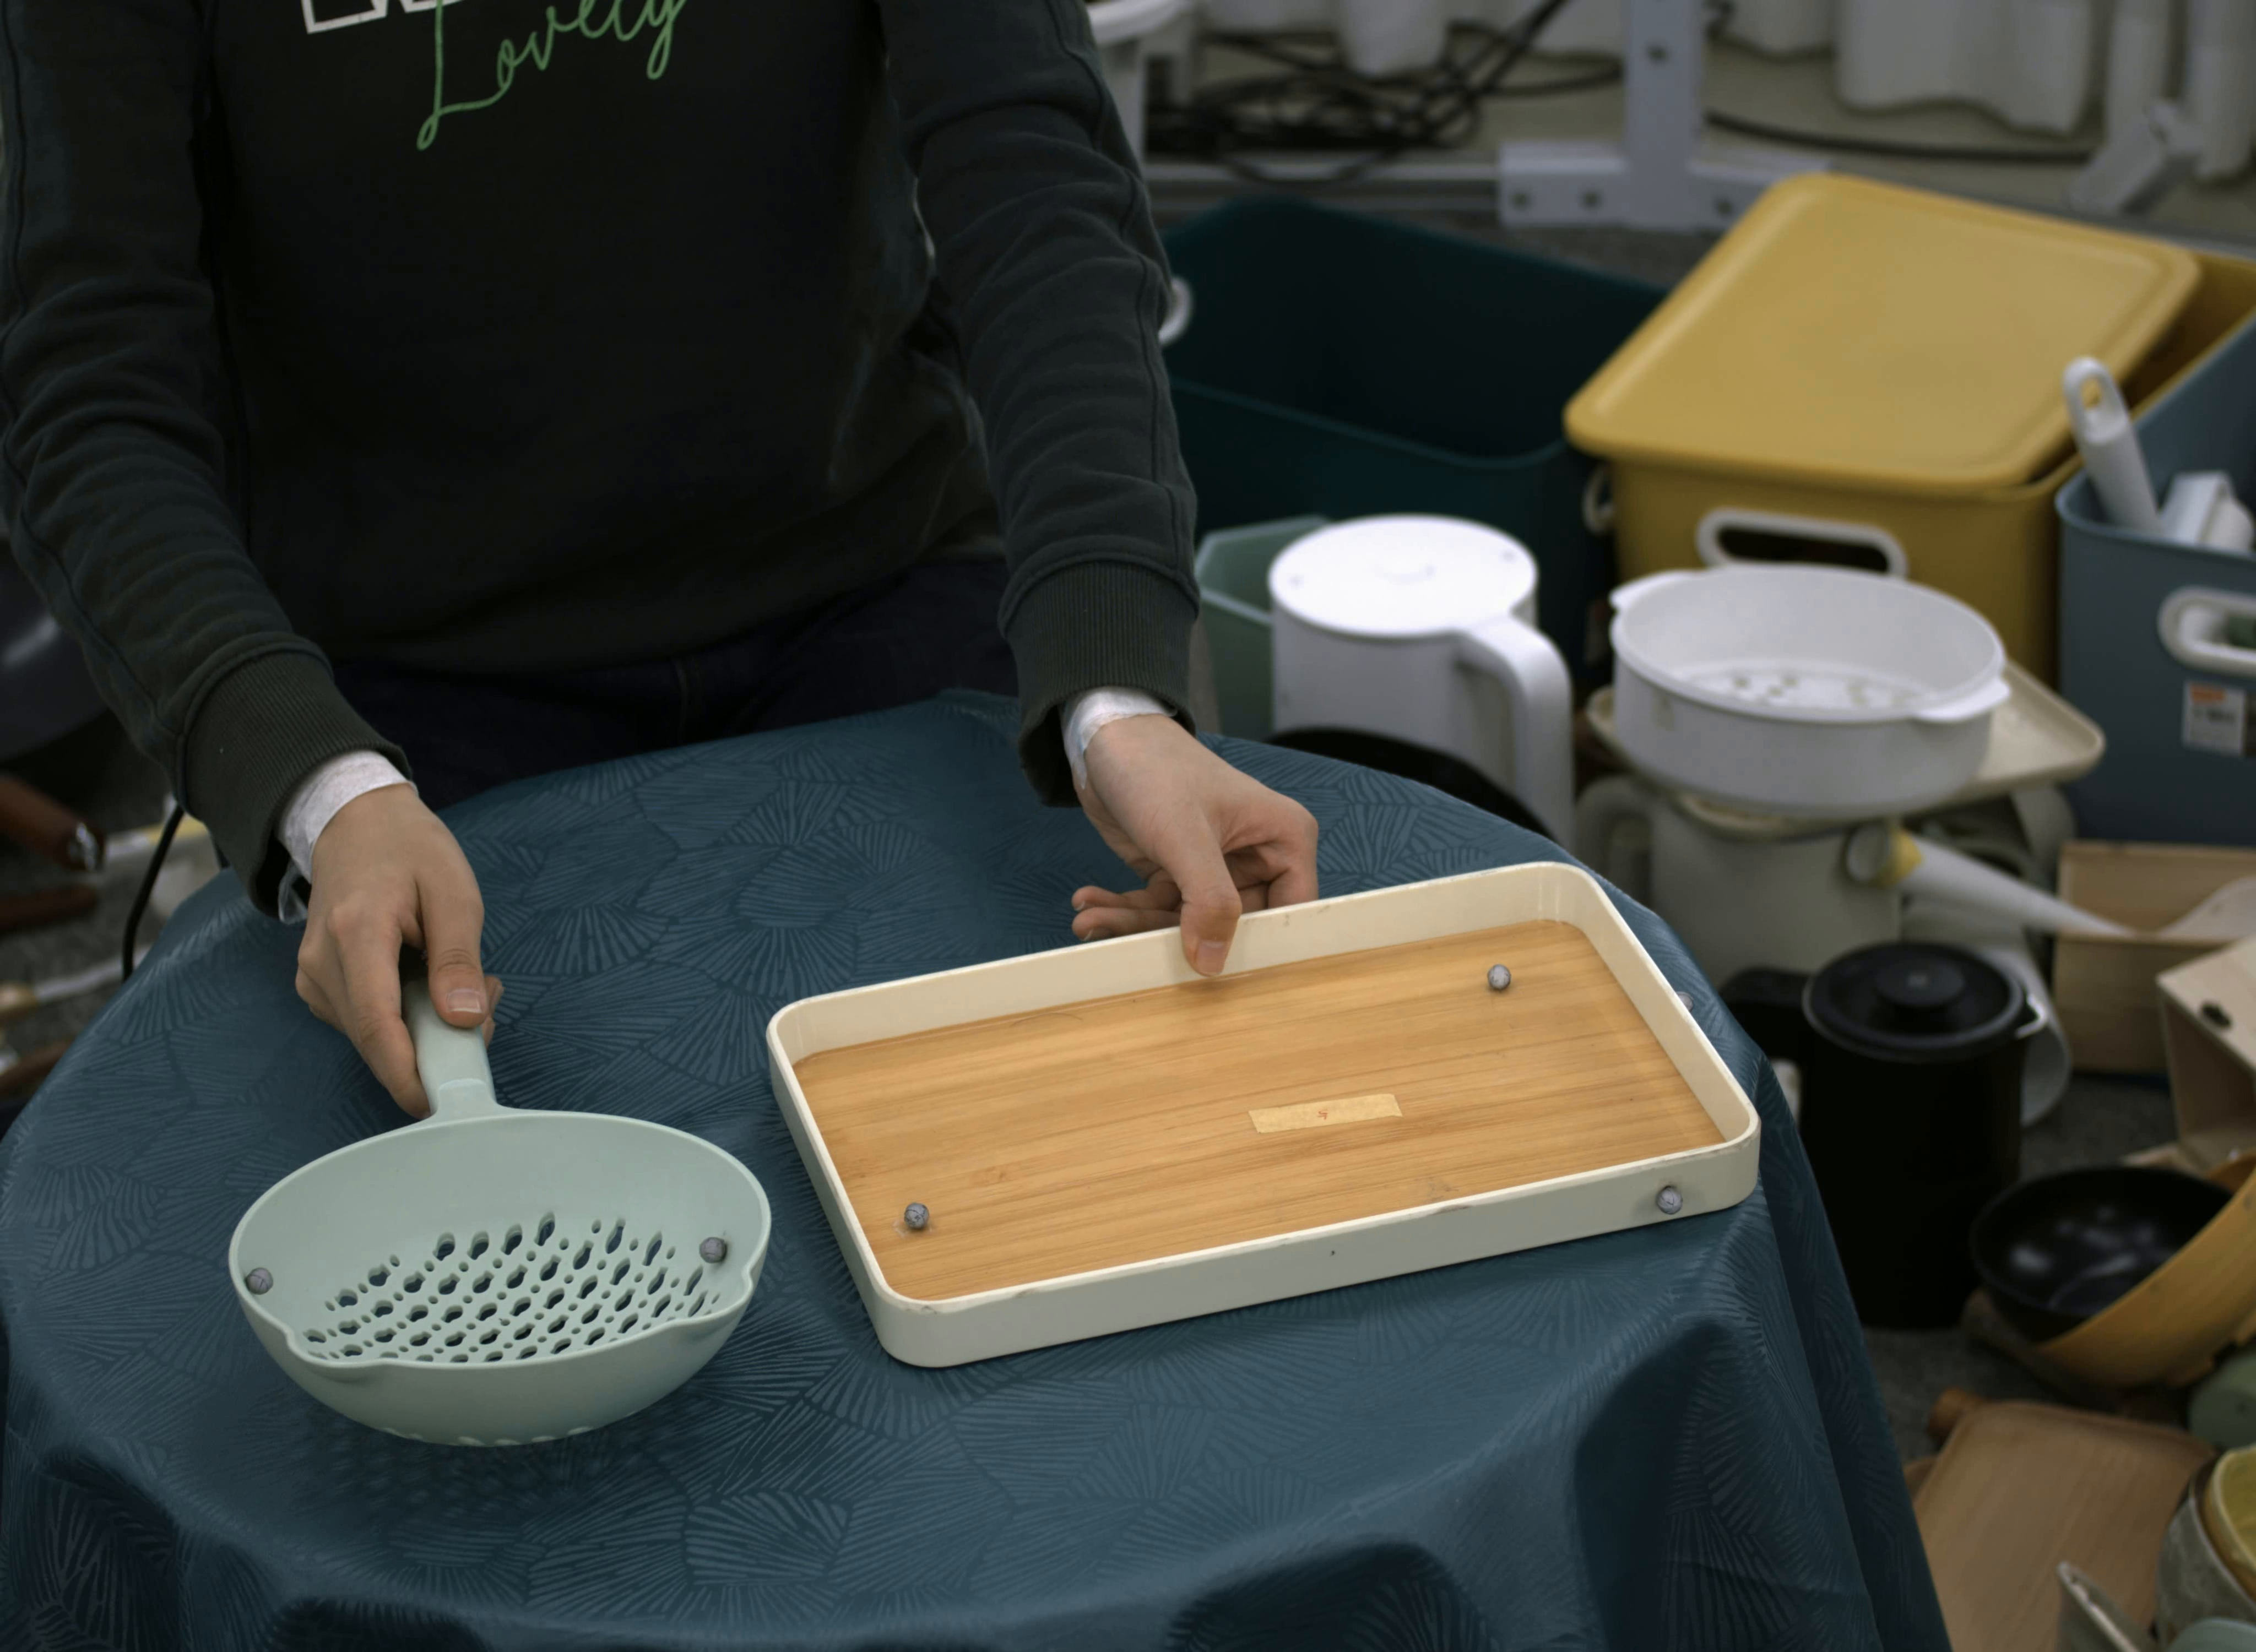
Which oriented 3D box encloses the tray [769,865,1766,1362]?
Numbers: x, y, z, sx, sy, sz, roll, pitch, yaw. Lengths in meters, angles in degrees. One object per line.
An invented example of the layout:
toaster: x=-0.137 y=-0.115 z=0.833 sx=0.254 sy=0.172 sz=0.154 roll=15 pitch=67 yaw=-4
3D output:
tray: x=0.043 y=0.092 z=1.874 sx=0.300 sy=0.027 sz=0.194 roll=-9 pitch=31 yaw=-14

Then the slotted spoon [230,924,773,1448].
slotted spoon: x=-0.215 y=0.102 z=1.840 sx=0.169 sy=0.074 sz=0.363 roll=-6 pitch=31 yaw=-11
